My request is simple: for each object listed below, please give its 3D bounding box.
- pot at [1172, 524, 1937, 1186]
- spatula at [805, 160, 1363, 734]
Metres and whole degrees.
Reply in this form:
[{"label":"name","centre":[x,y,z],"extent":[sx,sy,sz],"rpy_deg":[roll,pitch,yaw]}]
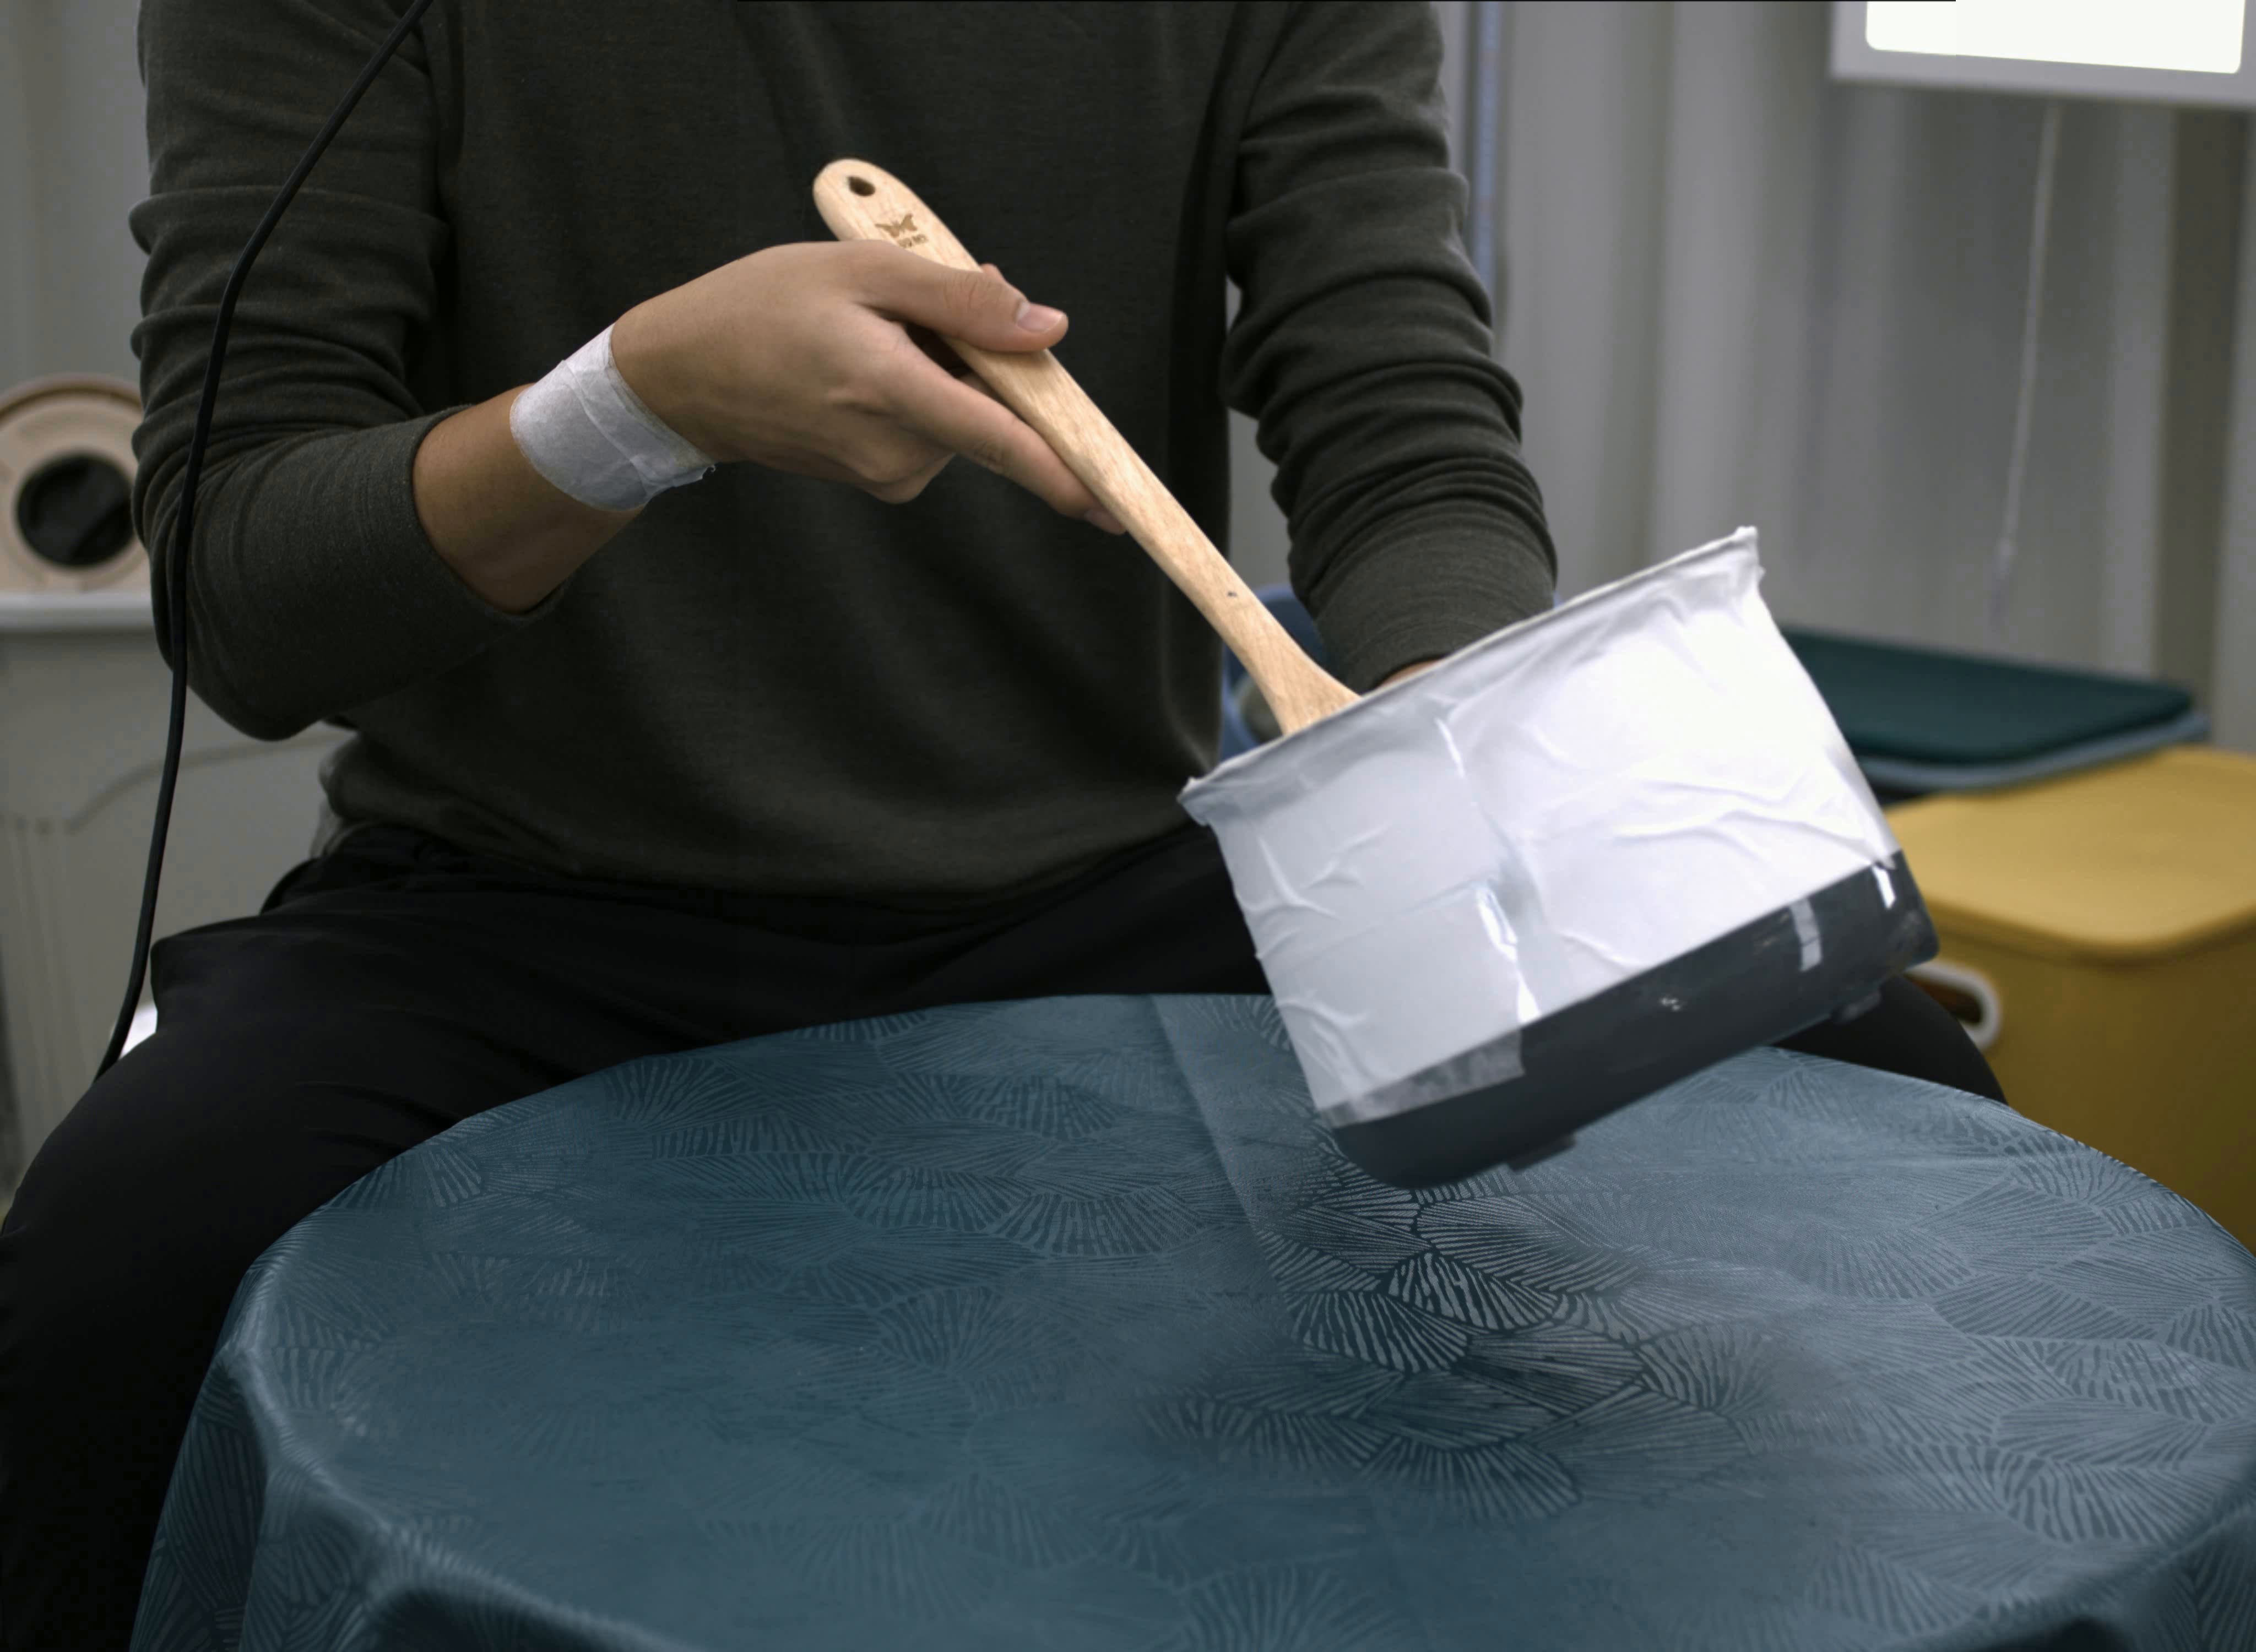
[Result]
[{"label":"pot","centre":[0.114,0.015,1.479],"extent":[0.178,0.137,0.233],"rpy_deg":[-23,-2,-11]},{"label":"spatula","centre":[0.006,-0.086,1.562],"extent":[0.096,0.018,0.386],"rpy_deg":[-18,52,-32]}]
